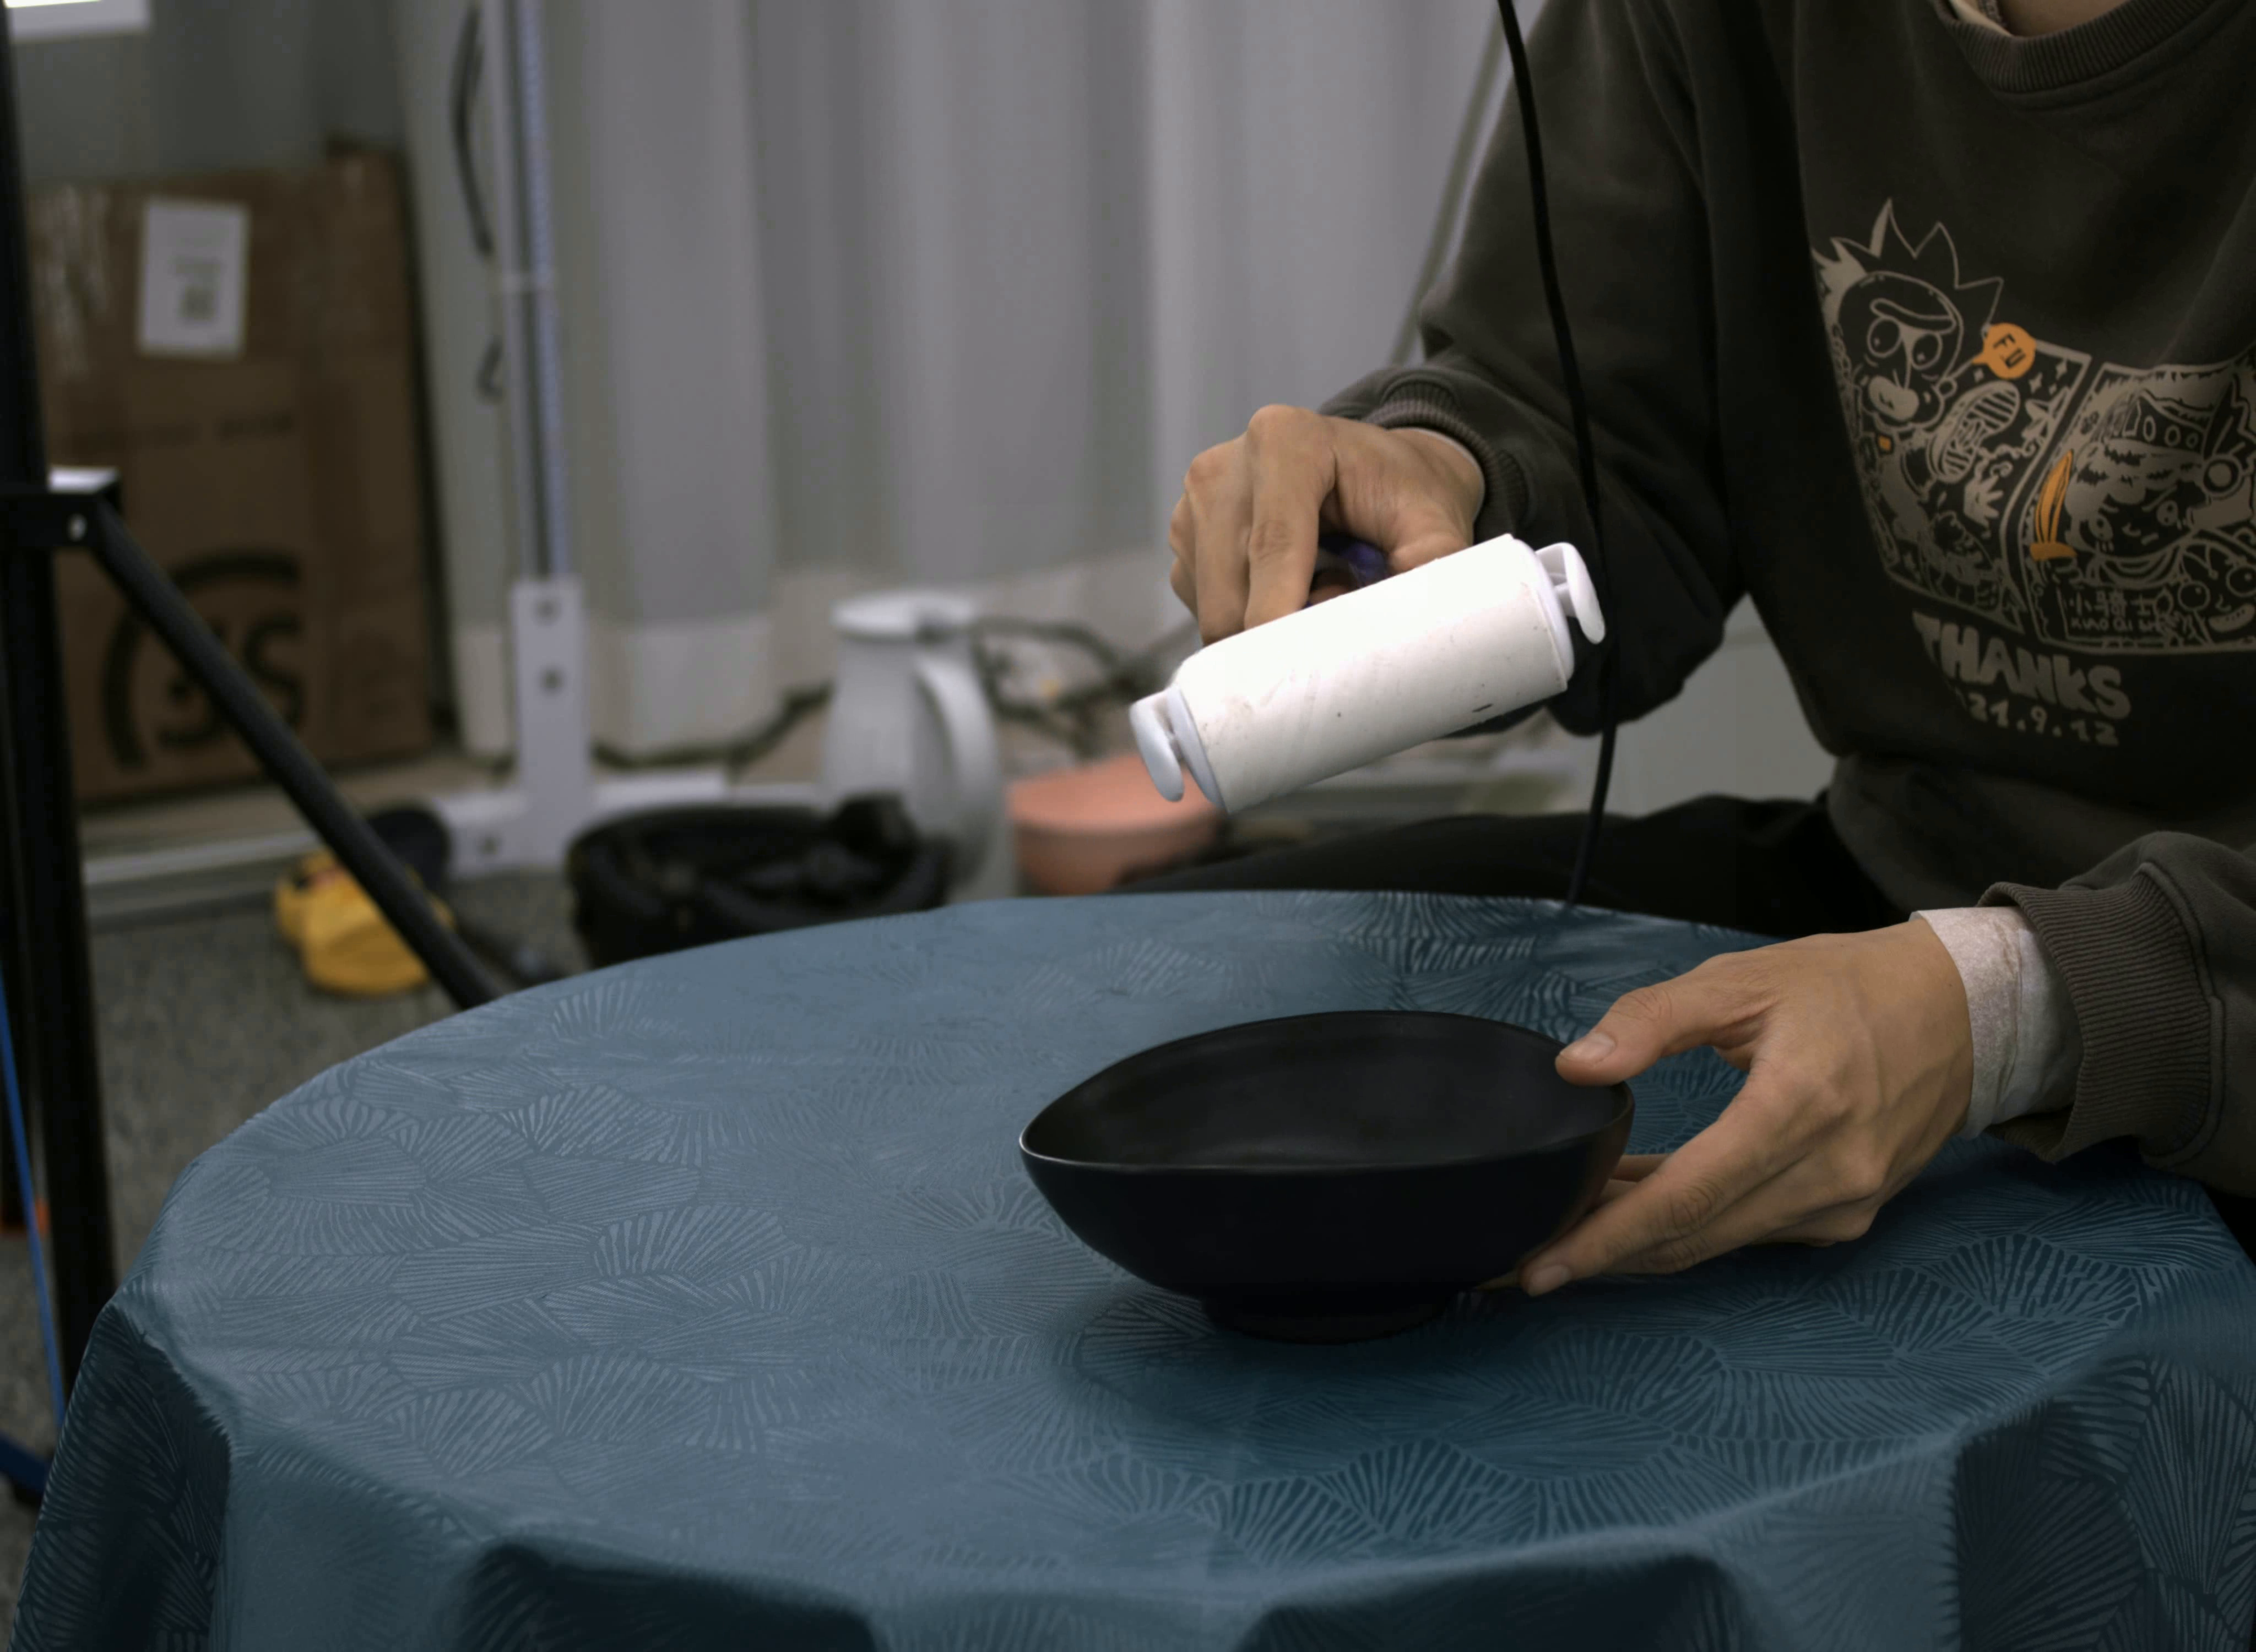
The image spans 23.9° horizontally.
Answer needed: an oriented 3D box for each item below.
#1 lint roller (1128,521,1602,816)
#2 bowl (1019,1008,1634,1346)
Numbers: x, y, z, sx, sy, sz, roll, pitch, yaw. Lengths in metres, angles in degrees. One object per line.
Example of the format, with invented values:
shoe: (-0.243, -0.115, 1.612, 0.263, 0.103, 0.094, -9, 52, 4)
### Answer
lint roller: (0.059, -0.067, 1.514, 0.133, 0.050, 0.182, -21, 25, 4)
bowl: (0.055, 0.102, 1.458, 0.170, 0.067, 0.137, -3, 14, 6)
